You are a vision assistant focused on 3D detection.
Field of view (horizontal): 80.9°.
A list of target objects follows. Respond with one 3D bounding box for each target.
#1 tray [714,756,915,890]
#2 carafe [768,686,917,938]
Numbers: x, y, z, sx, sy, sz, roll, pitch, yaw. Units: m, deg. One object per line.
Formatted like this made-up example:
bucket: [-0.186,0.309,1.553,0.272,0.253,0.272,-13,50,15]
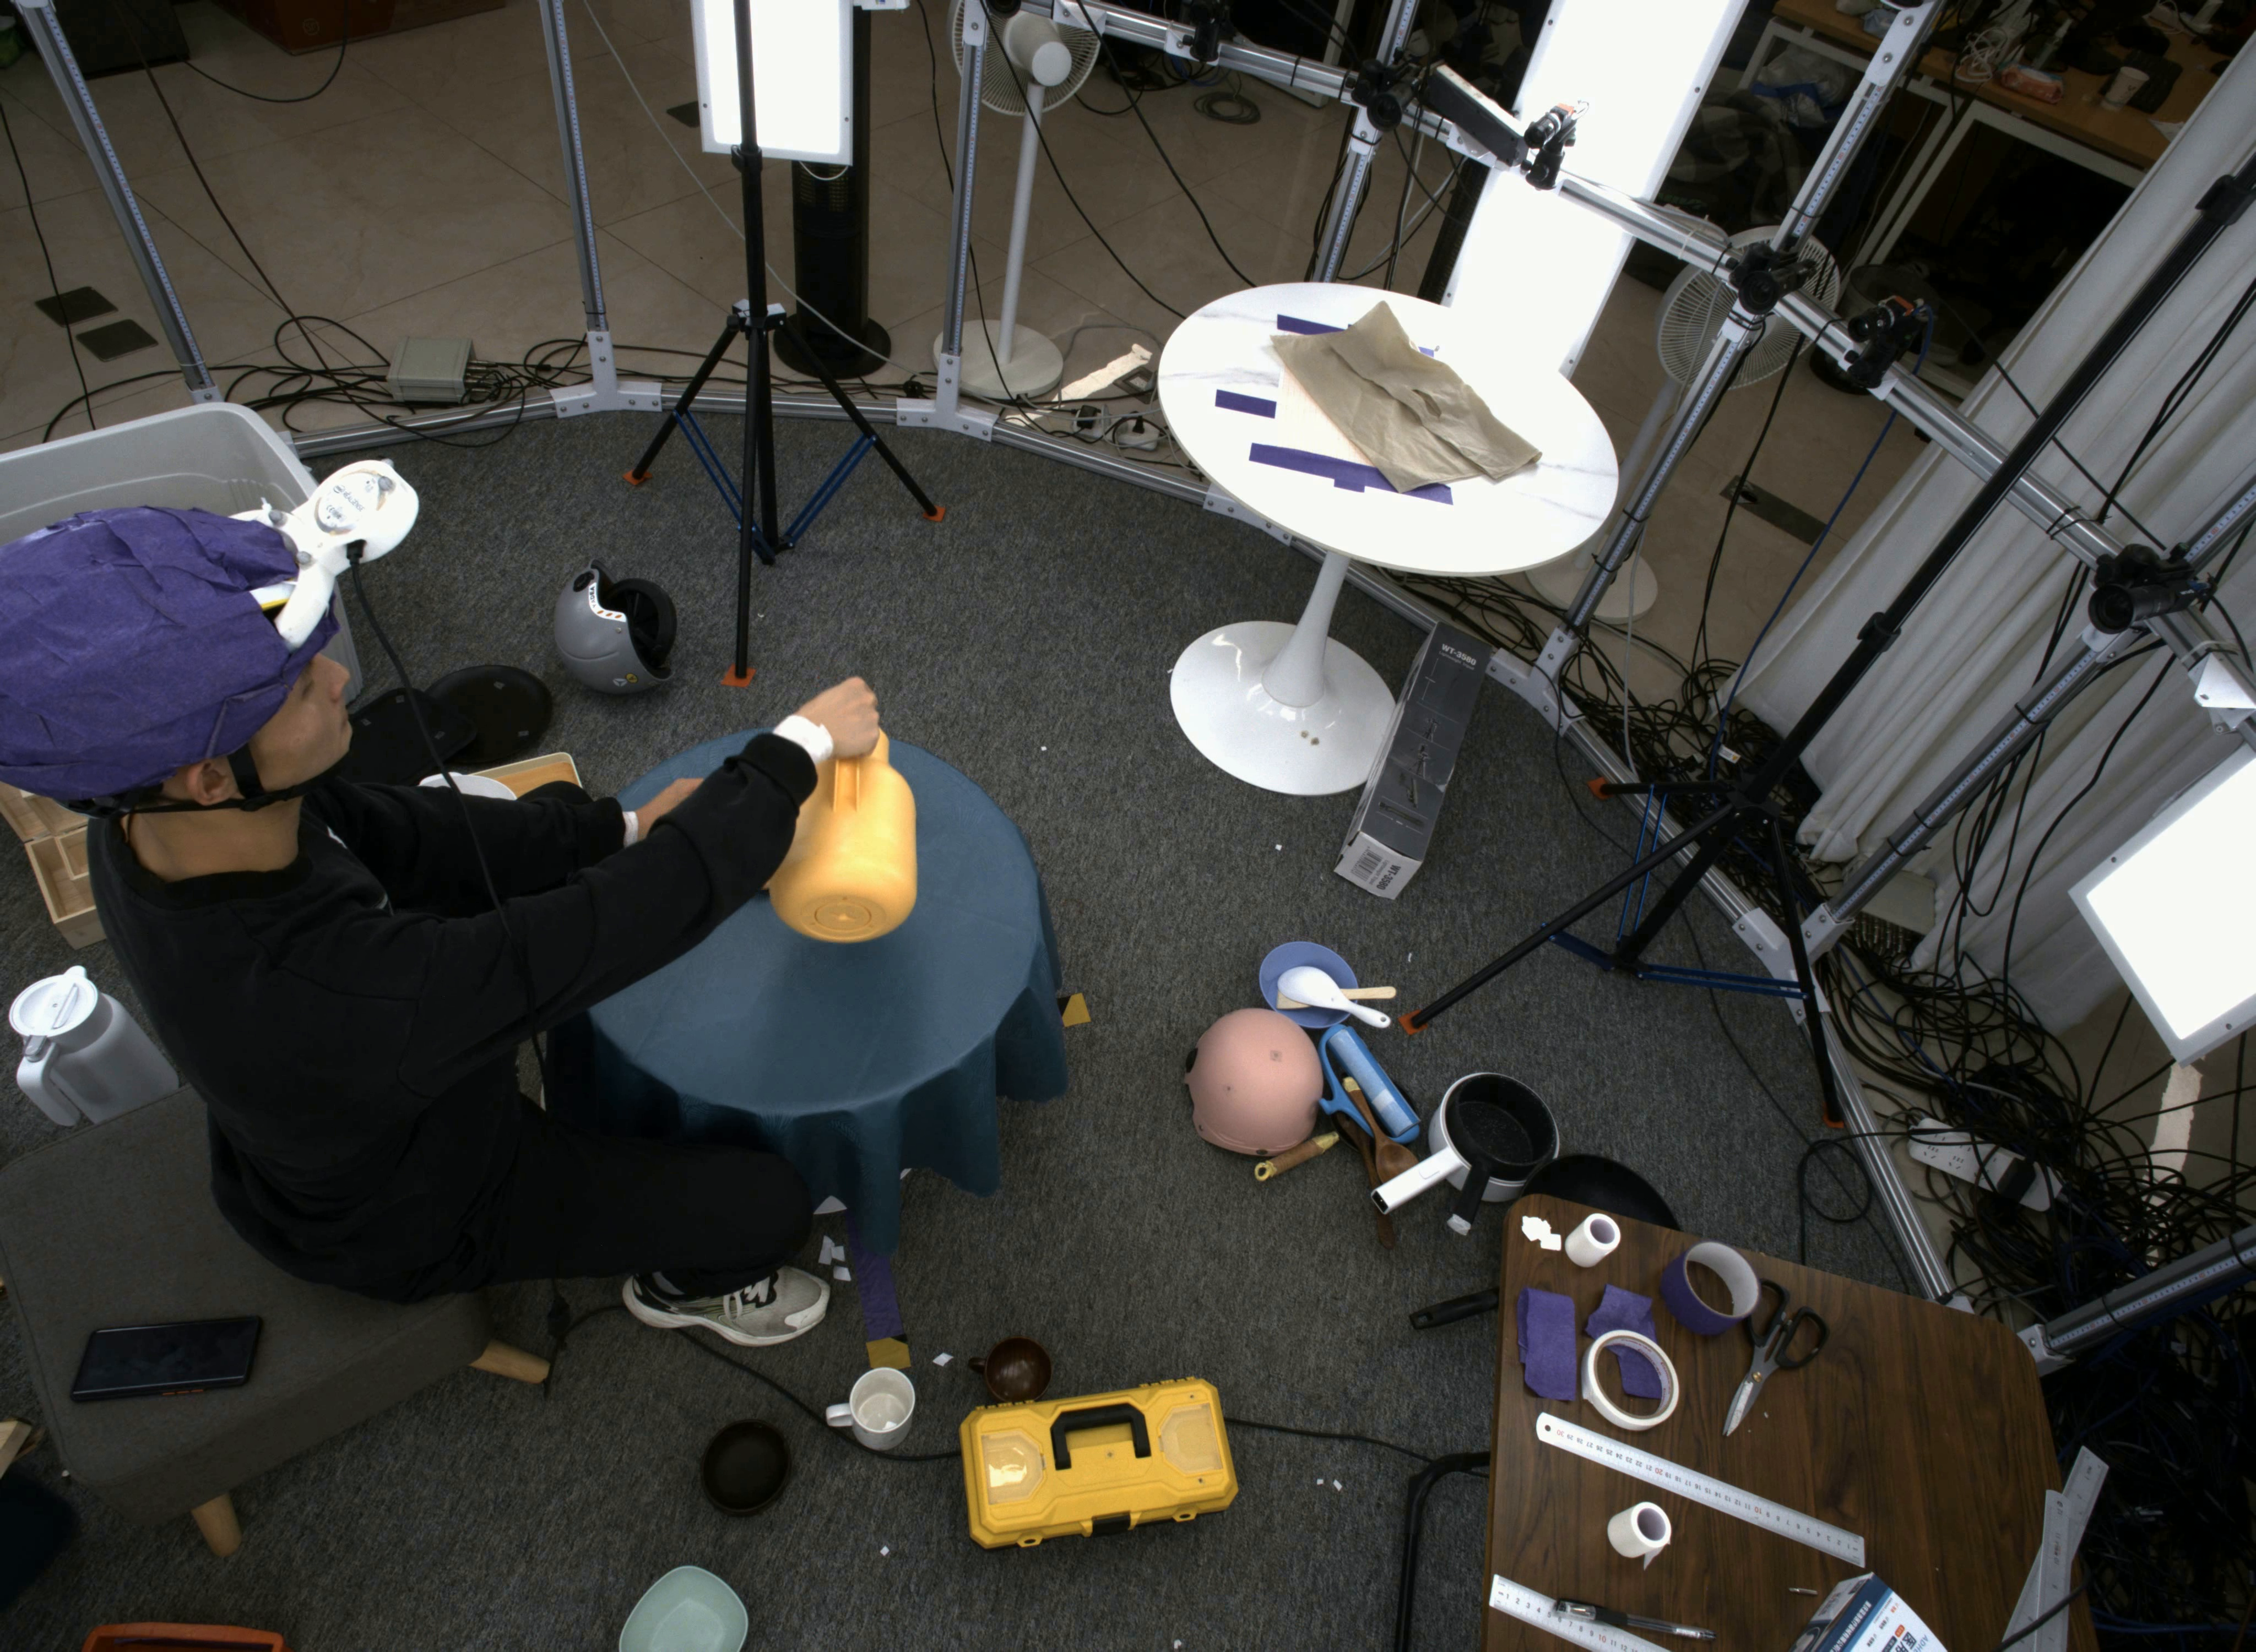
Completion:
tray: [-0.409,-0.010,1.702,0.252,0.023,0.129,-24,74,-29]
carafe: [-0.325,-0.026,1.474,0.163,0.207,0.255,-2,54,-11]
